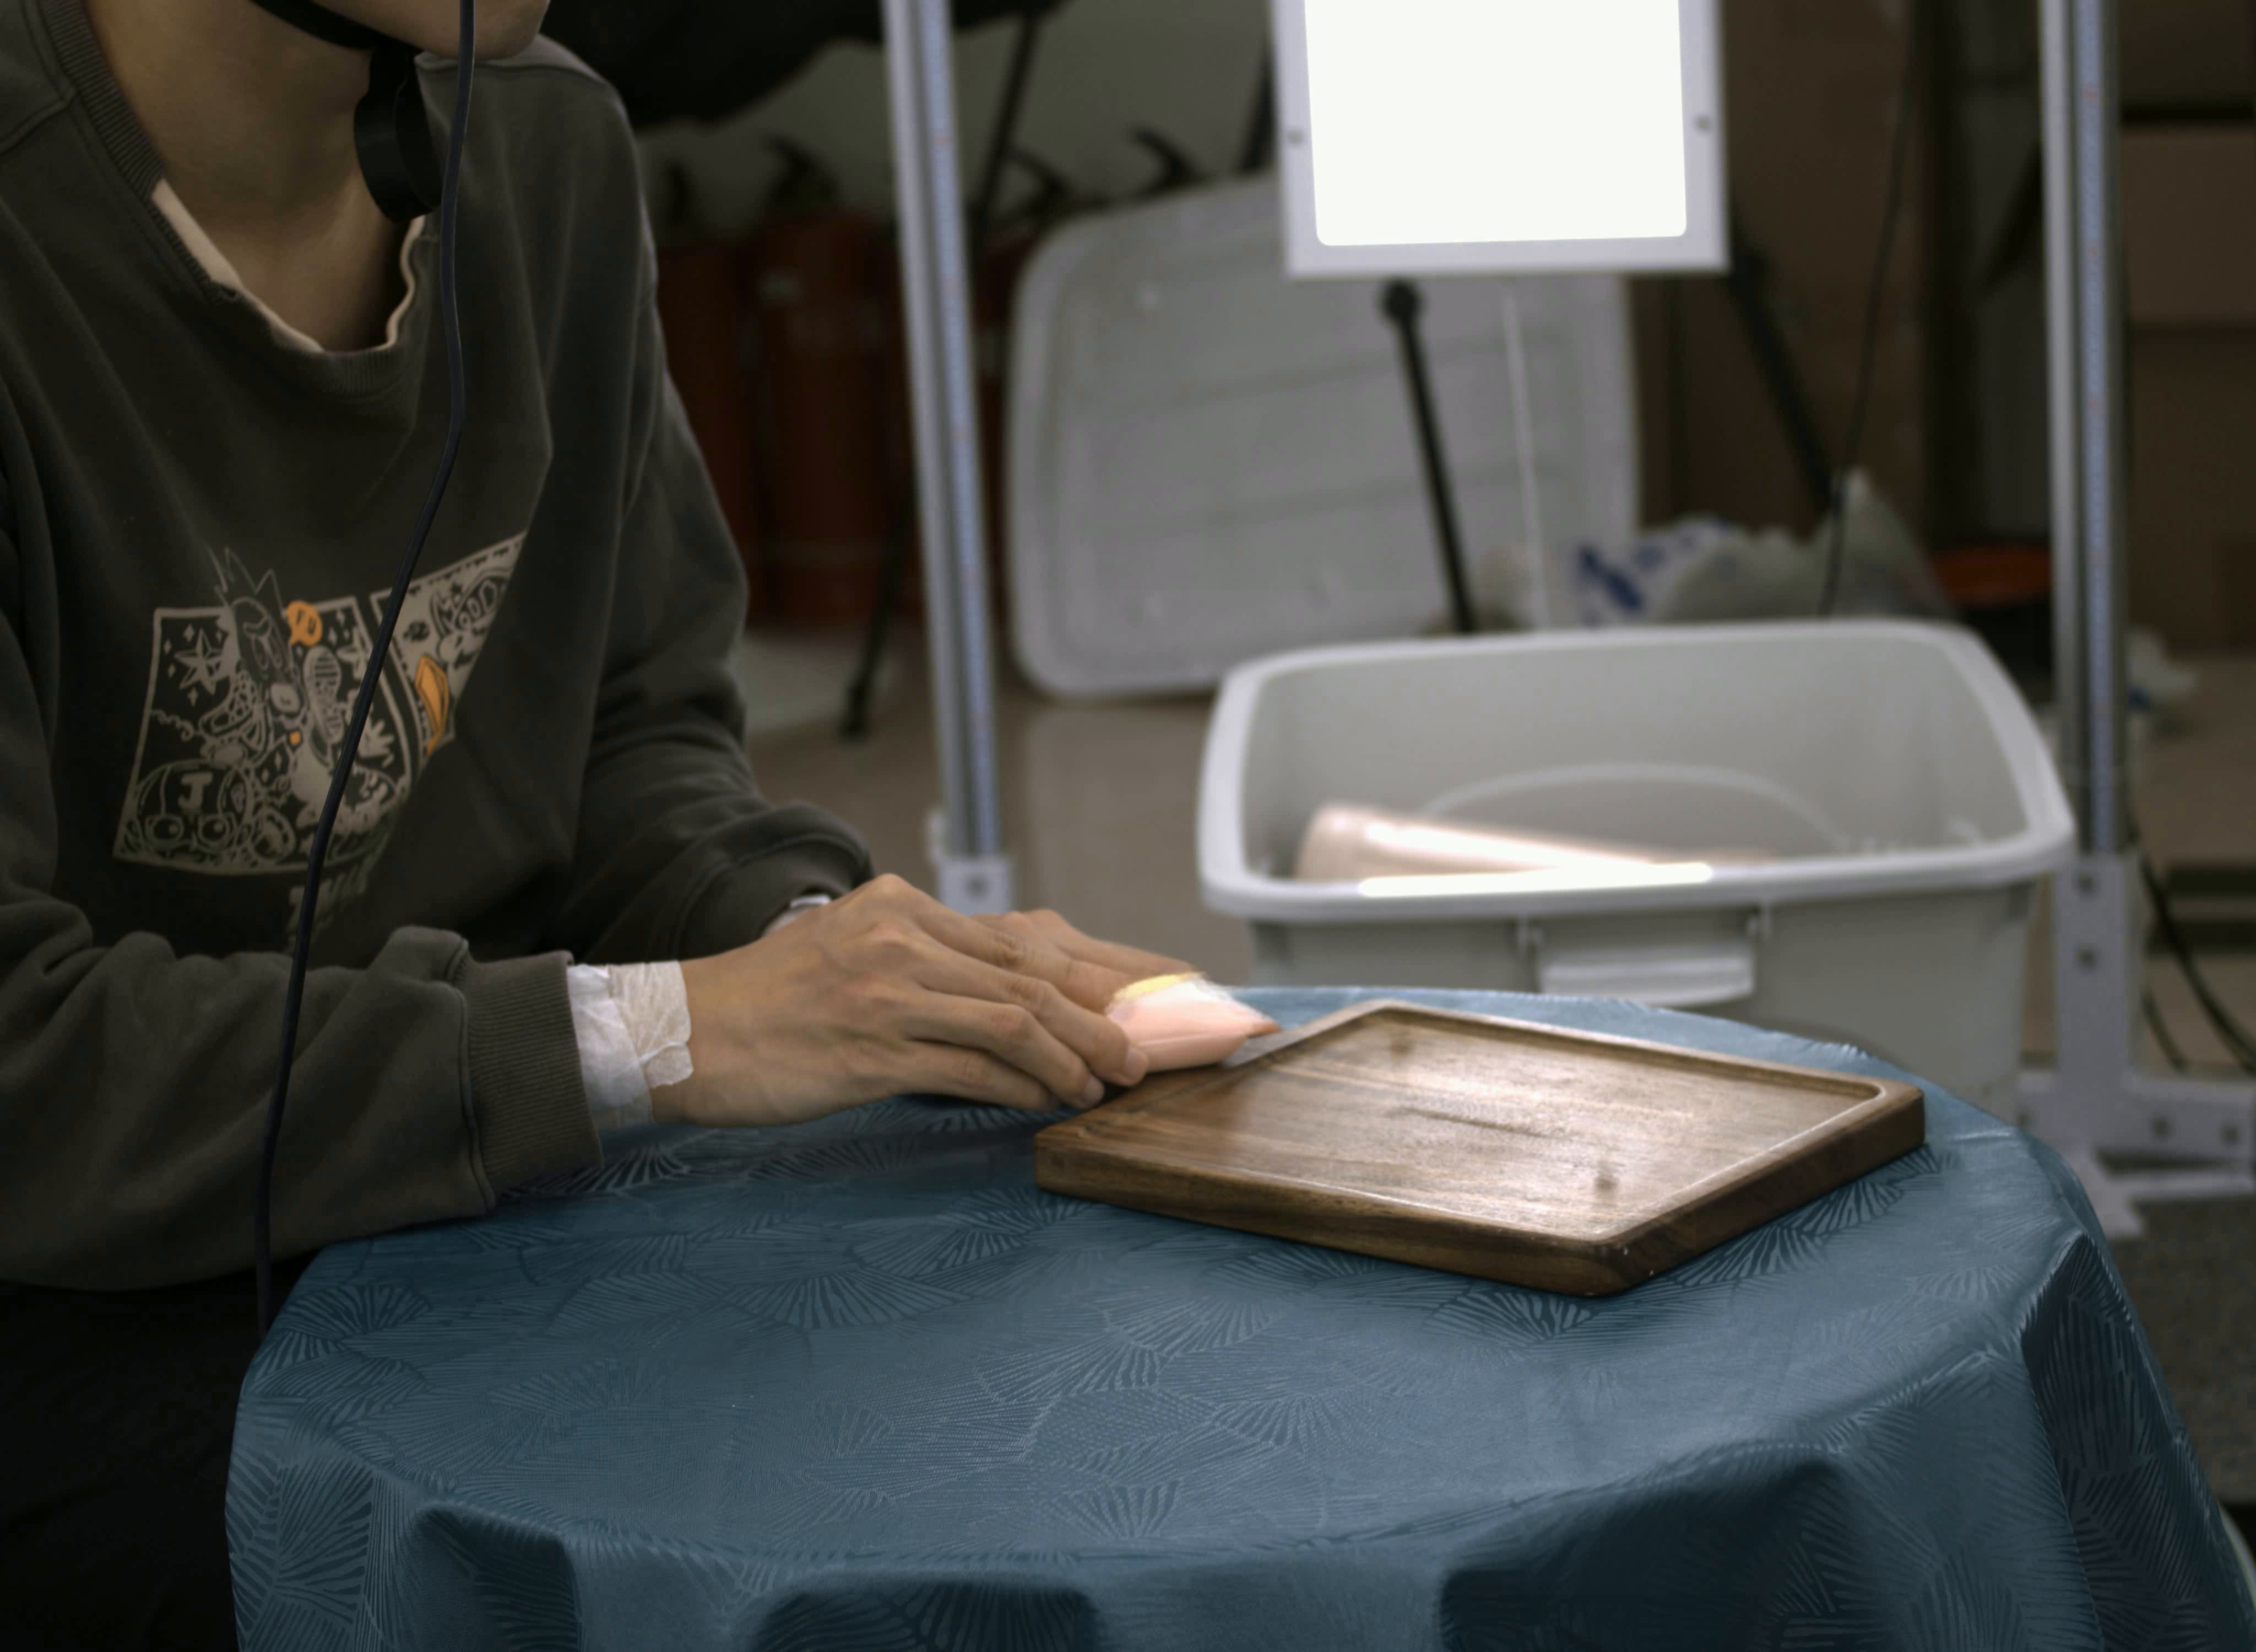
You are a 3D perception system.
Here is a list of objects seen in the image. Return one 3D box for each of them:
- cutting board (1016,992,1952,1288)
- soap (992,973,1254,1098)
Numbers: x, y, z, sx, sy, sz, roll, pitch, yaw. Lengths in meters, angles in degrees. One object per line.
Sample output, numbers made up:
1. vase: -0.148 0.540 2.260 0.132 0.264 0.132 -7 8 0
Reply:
1. cutting board: 0.094 0.099 1.930 0.360 0.023 0.196 8 19 43
2. soap: -0.001 0.075 1.970 0.093 0.030 0.051 -12 15 -16
